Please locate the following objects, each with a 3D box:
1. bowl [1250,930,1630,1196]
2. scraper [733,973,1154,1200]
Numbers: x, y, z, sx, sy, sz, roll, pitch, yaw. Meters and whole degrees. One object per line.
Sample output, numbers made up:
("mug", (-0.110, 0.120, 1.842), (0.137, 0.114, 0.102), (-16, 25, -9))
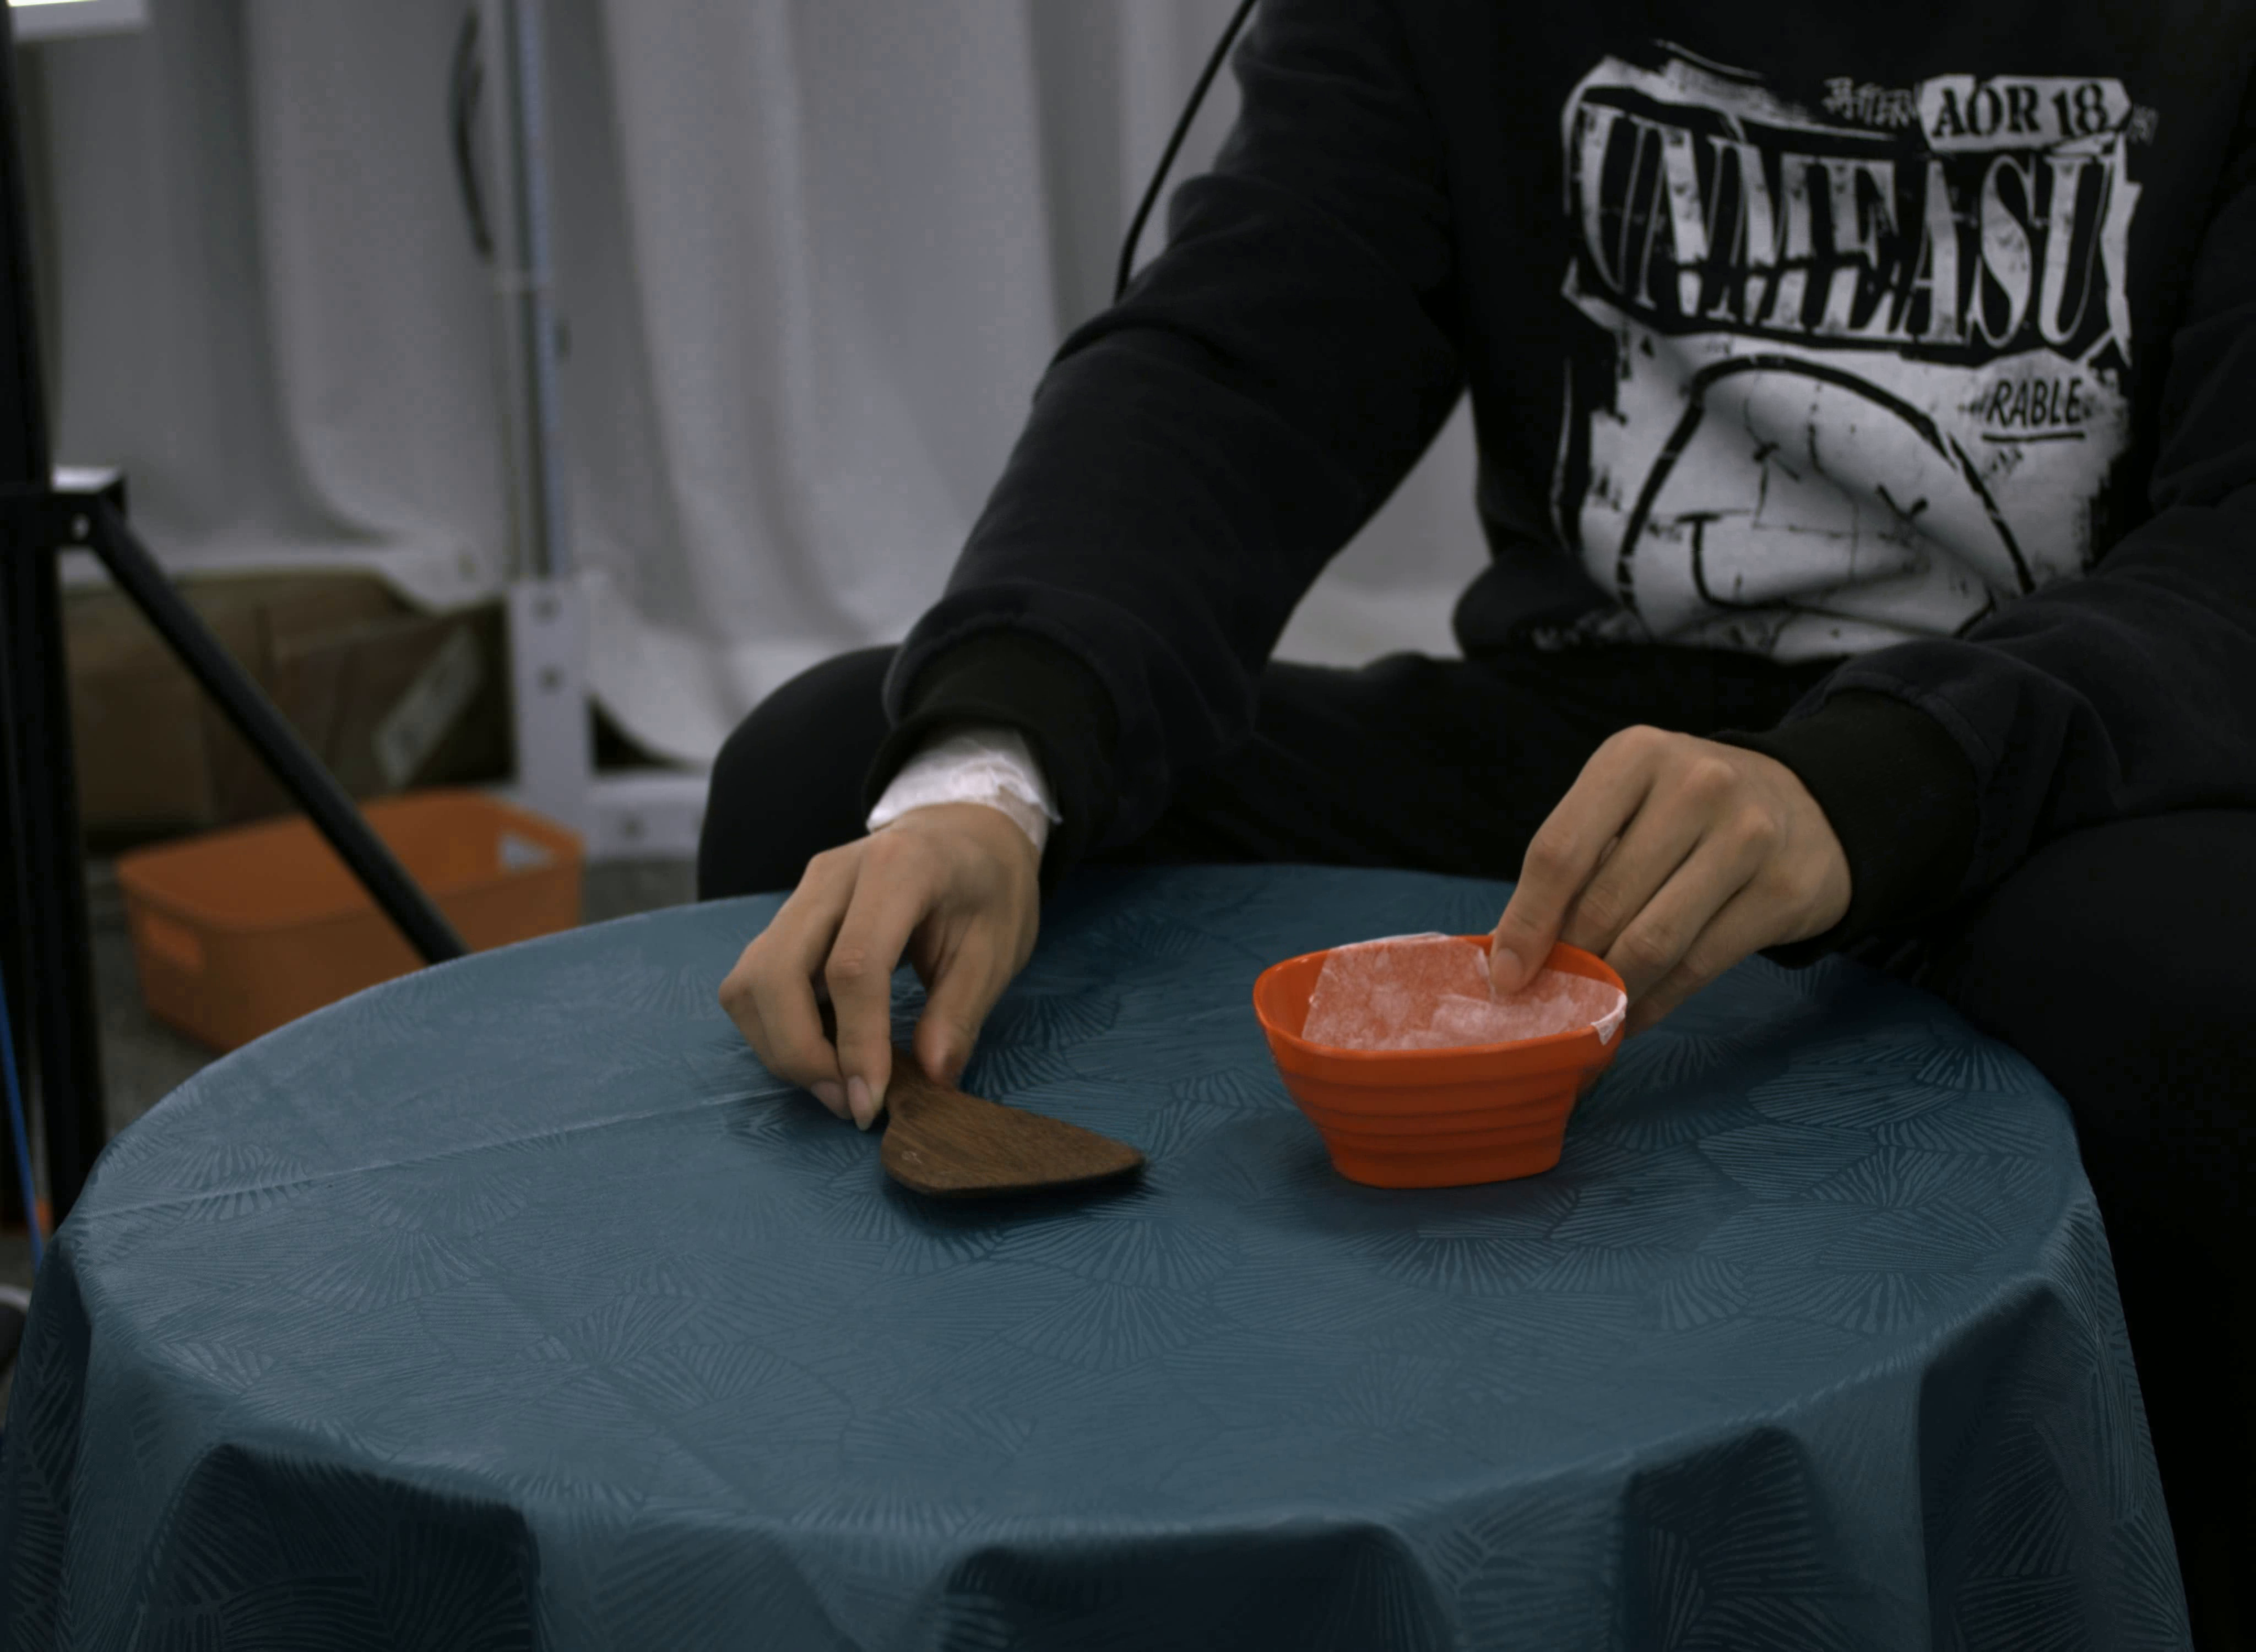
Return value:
("bowl", (0.093, 0.073, 1.573), (0.118, 0.051, 0.119), (-5, 17, 0))
("scraper", (-0.069, 0.079, 1.632), (0.074, 0.011, 0.216), (-5, 18, -27))
